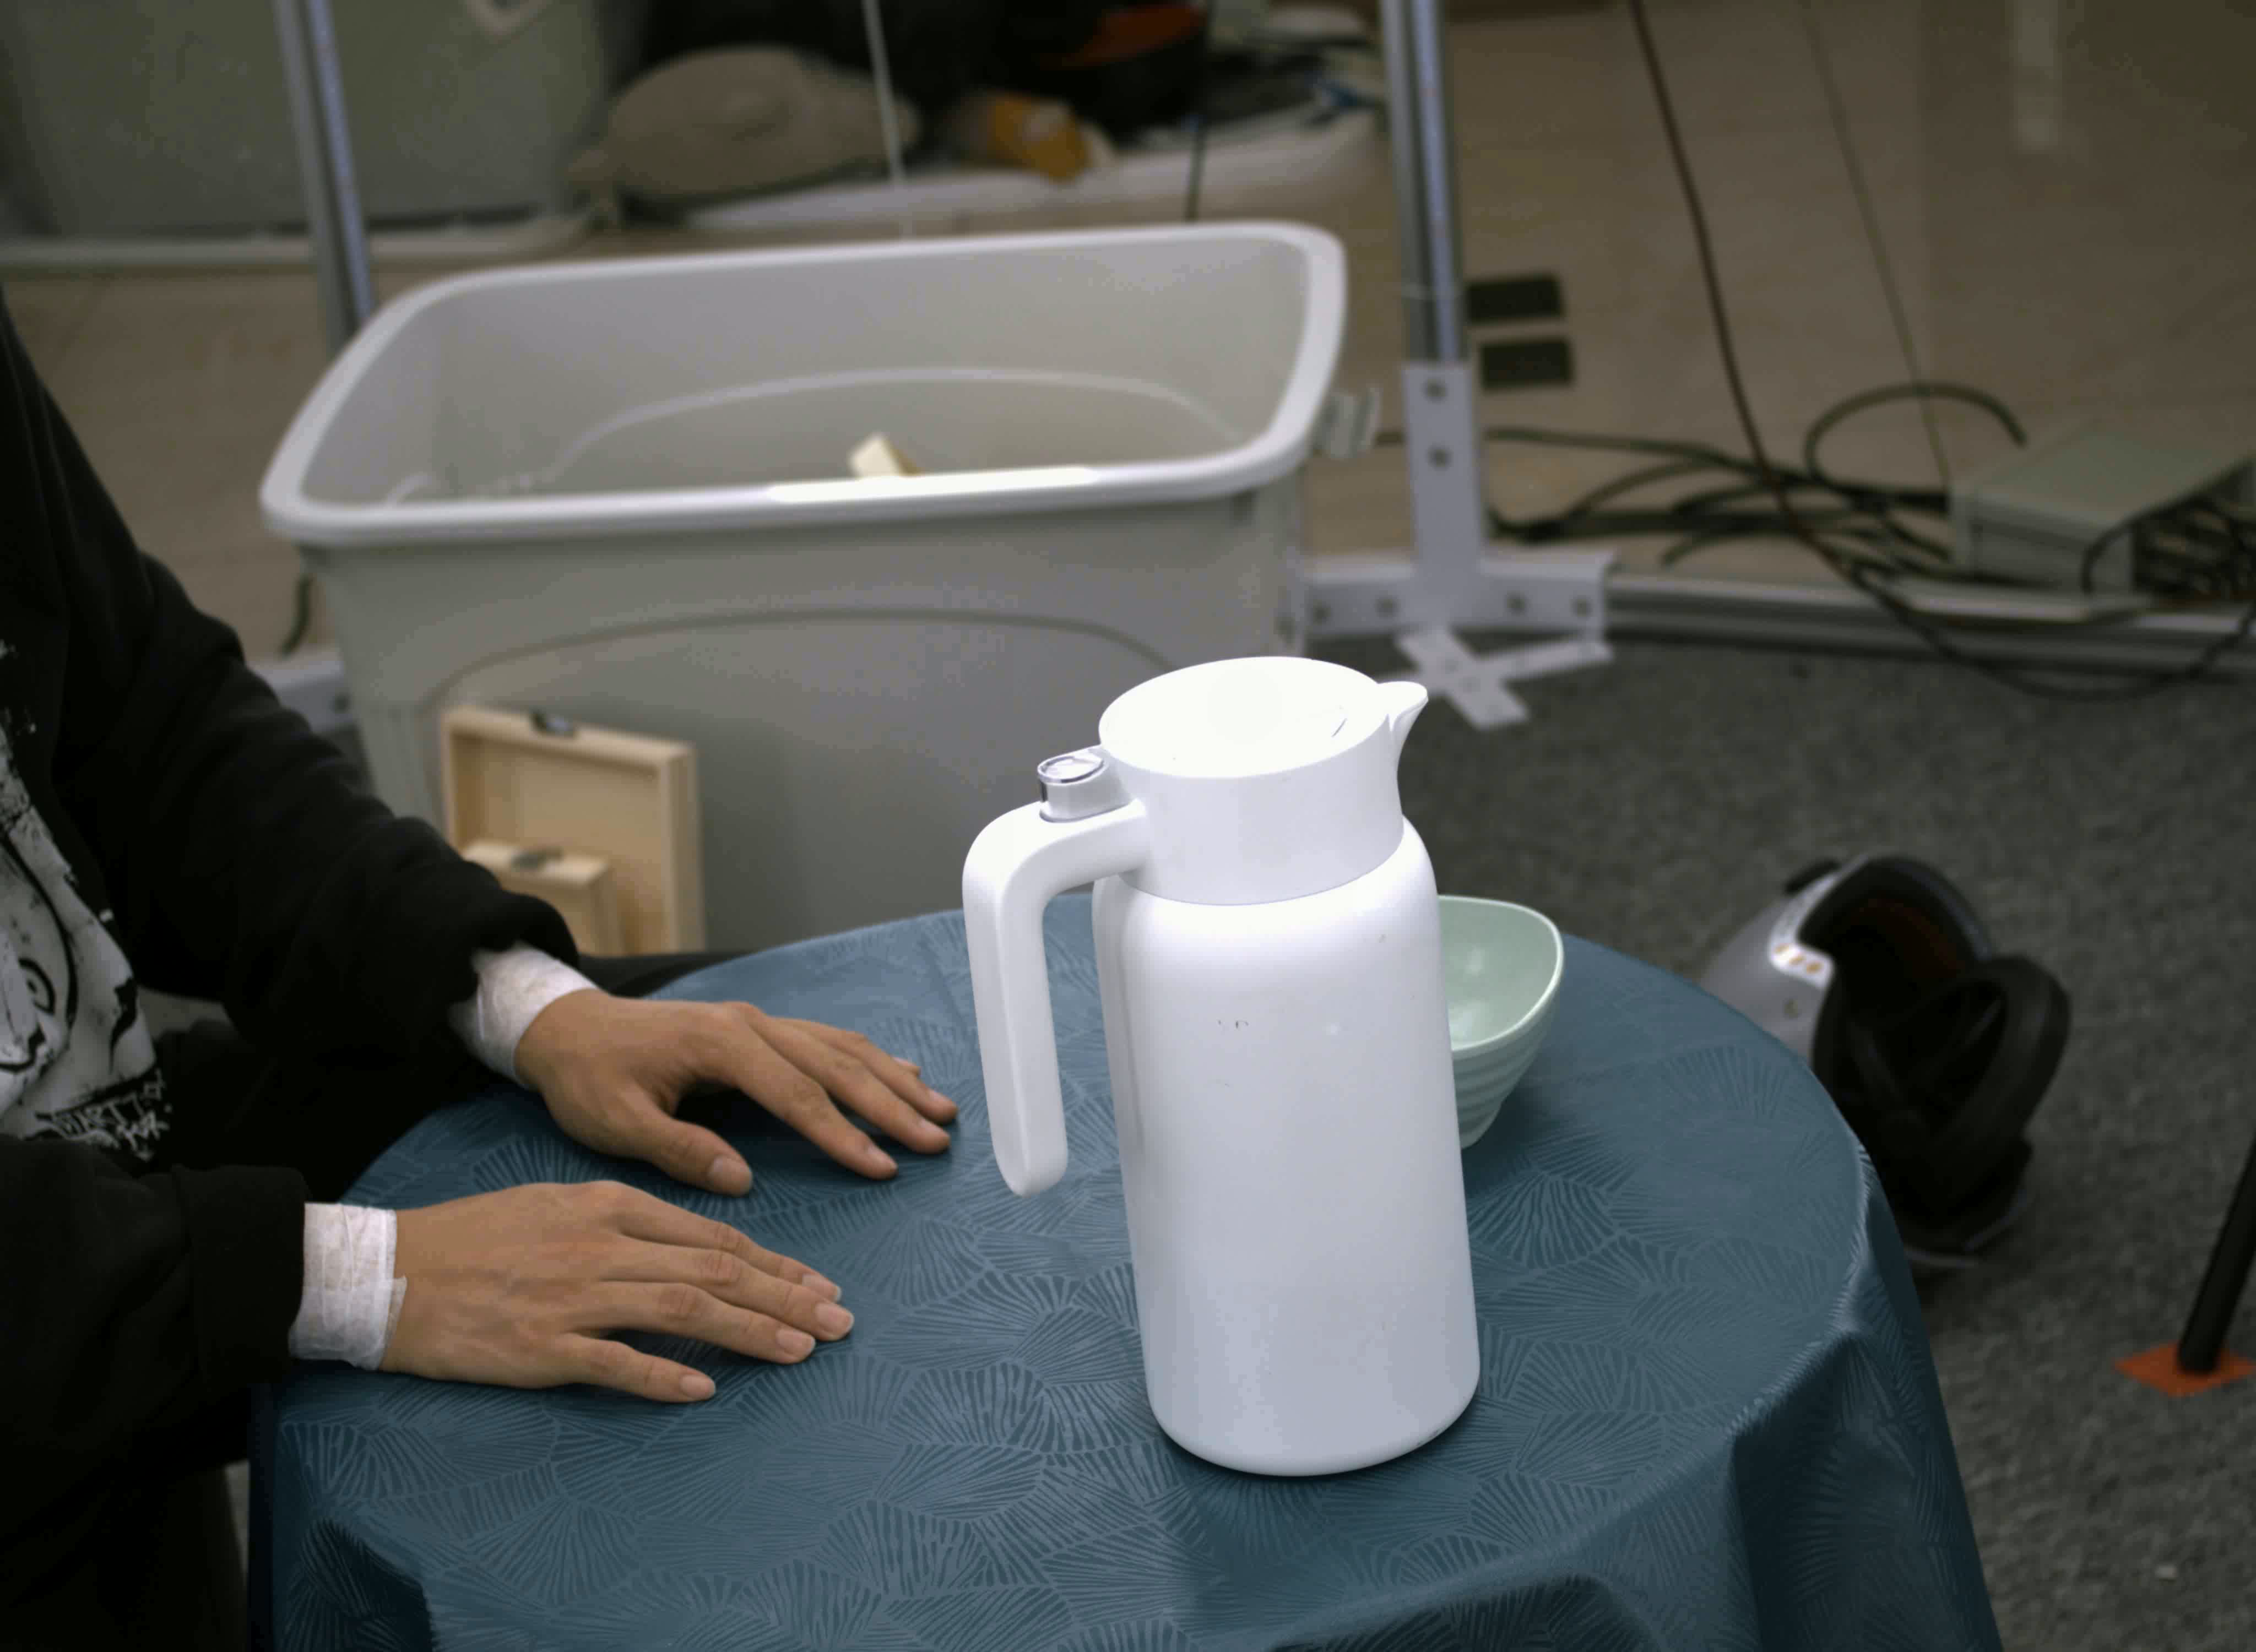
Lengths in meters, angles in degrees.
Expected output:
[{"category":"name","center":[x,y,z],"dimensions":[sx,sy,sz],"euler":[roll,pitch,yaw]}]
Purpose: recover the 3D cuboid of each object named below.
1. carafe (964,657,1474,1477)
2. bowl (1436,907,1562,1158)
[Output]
[{"category":"carafe","center":[0.036,0.087,1.931],"dimensions":[0.172,0.273,0.122],"euler":[-18,30,-22]},{"category":"bowl","center":[0.099,0.086,2.178],"dimensions":[0.151,0.059,0.149],"euler":[-5,25,3]}]
